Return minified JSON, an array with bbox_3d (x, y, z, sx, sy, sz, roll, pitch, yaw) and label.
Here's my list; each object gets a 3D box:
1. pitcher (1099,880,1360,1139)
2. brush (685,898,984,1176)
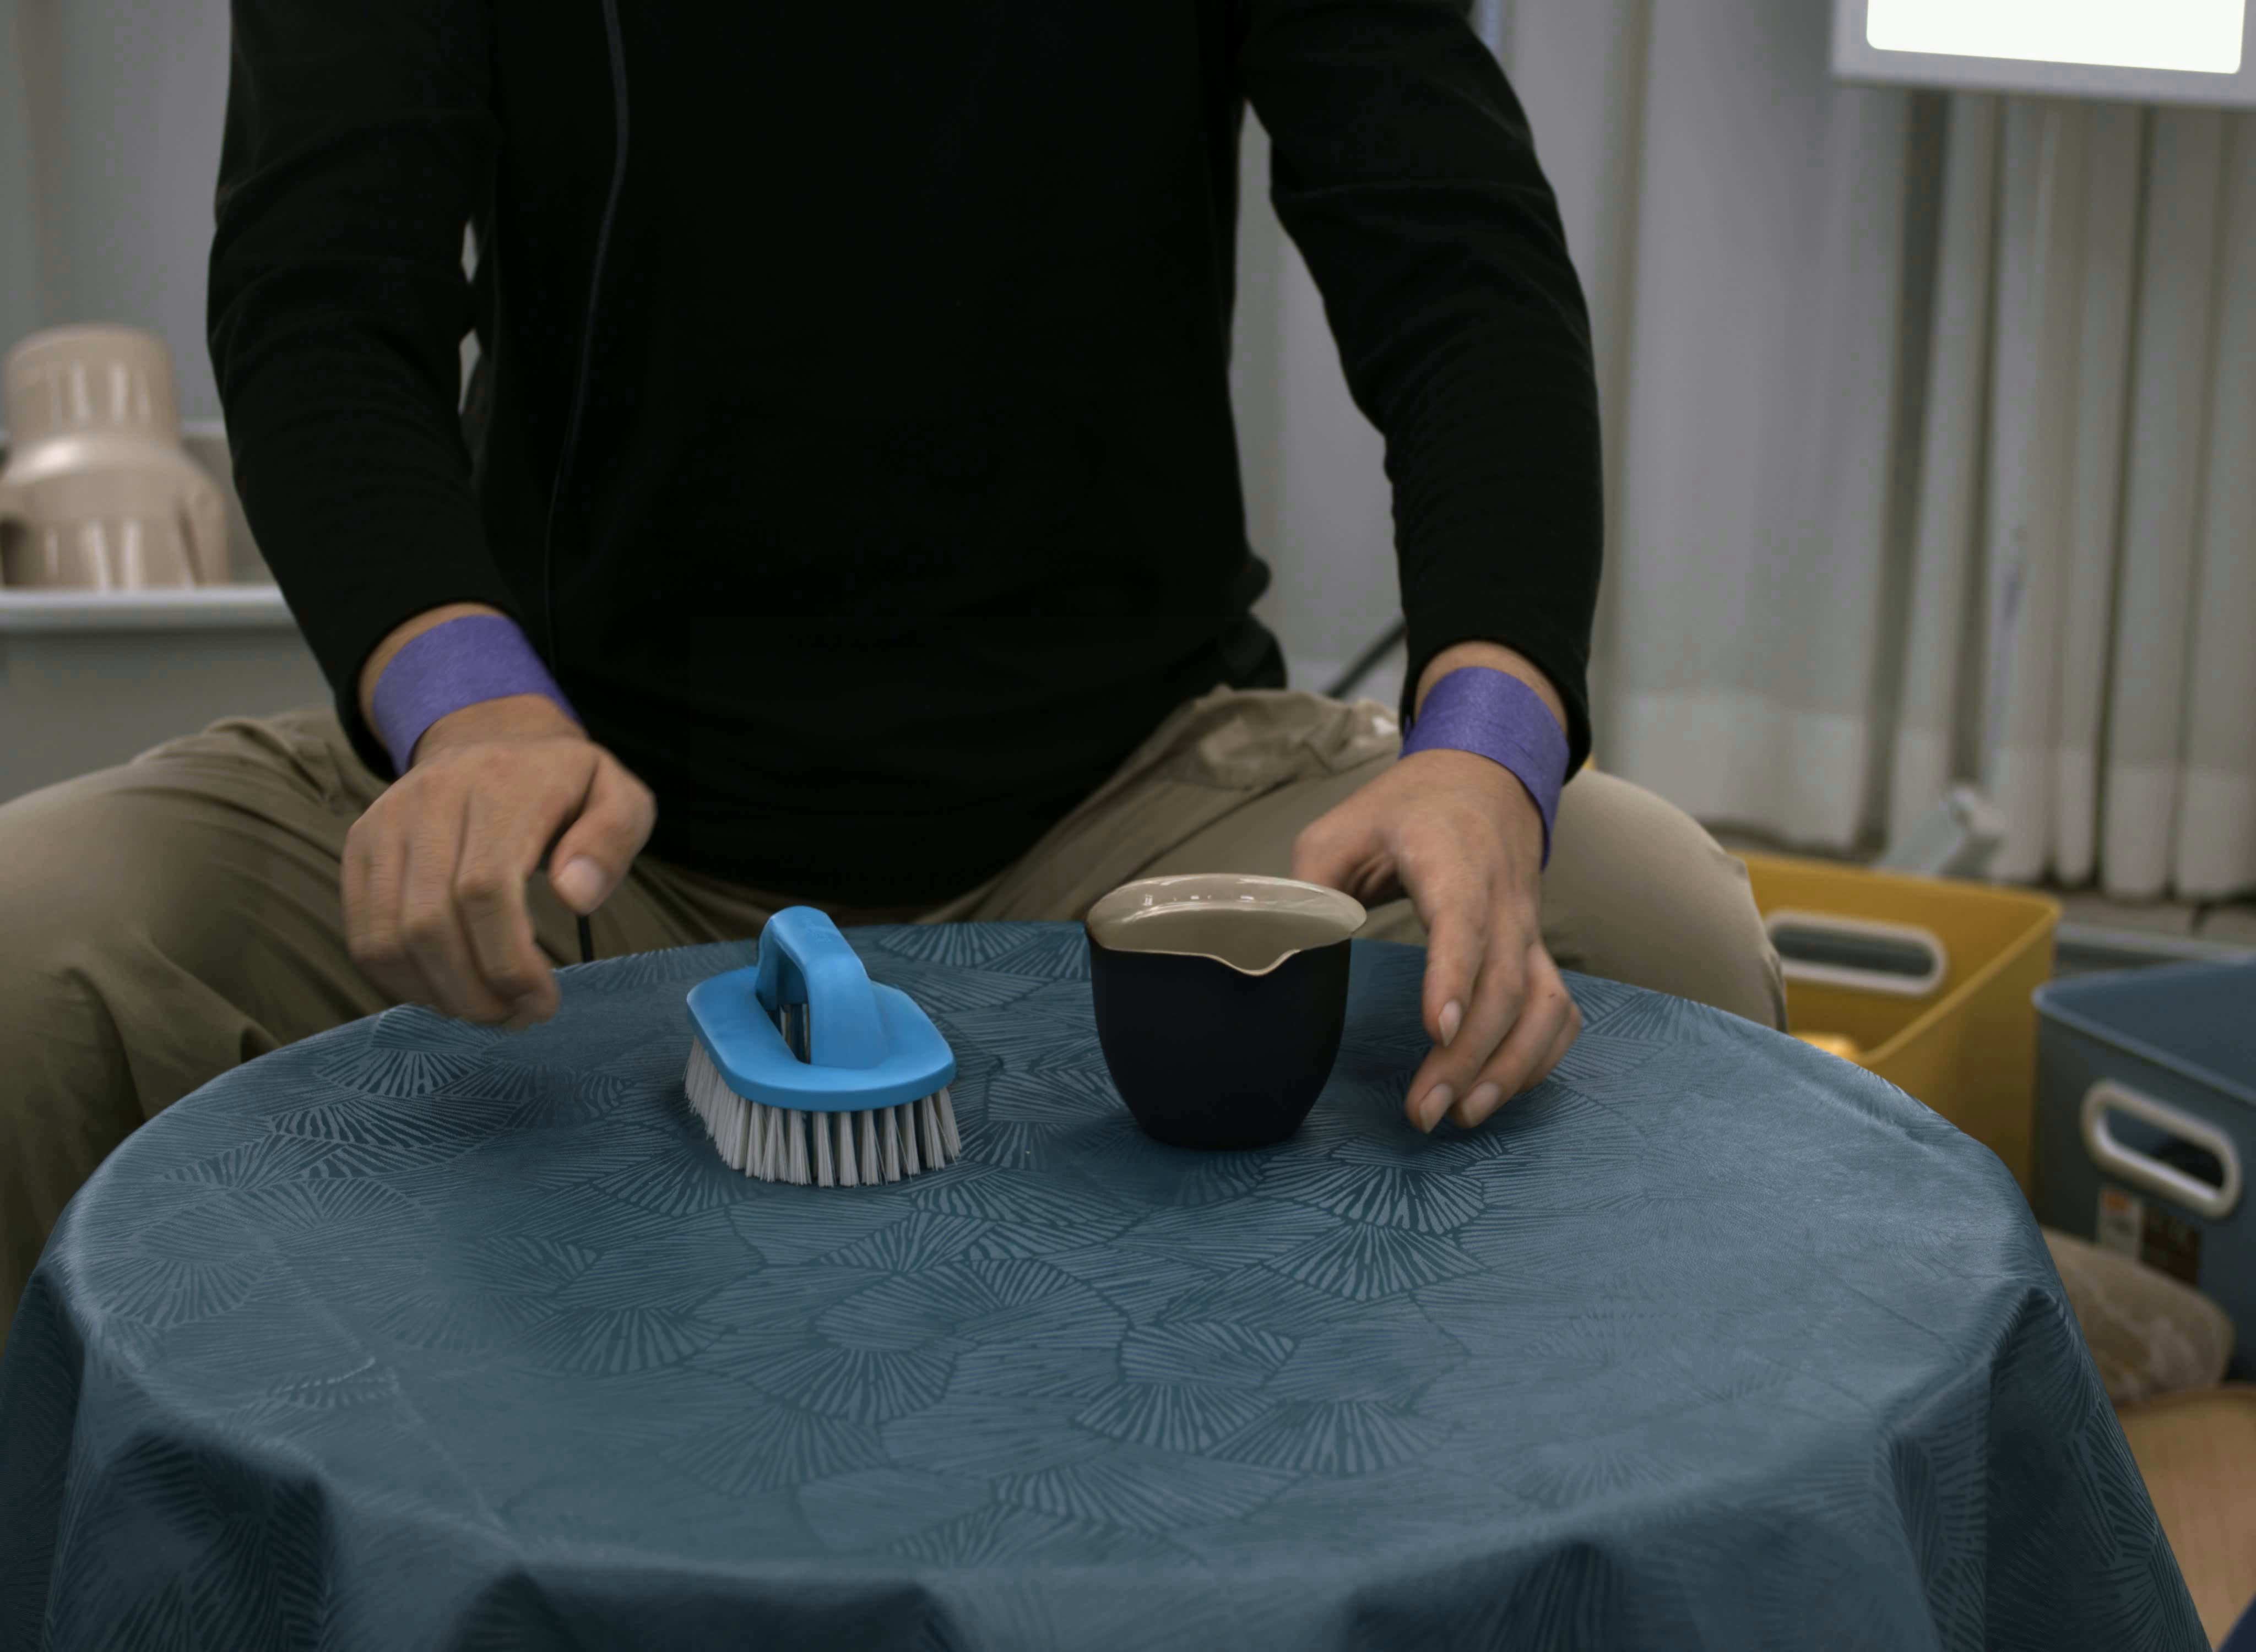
[{"bbox_3d":[0.032,0.059,1.672,0.083,0.072,0.095,0,17,-6],"label":"pitcher"},{"bbox_3d":[-0.097,0.061,1.679,0.084,0.064,0.140,-8,16,-12],"label":"brush"}]
